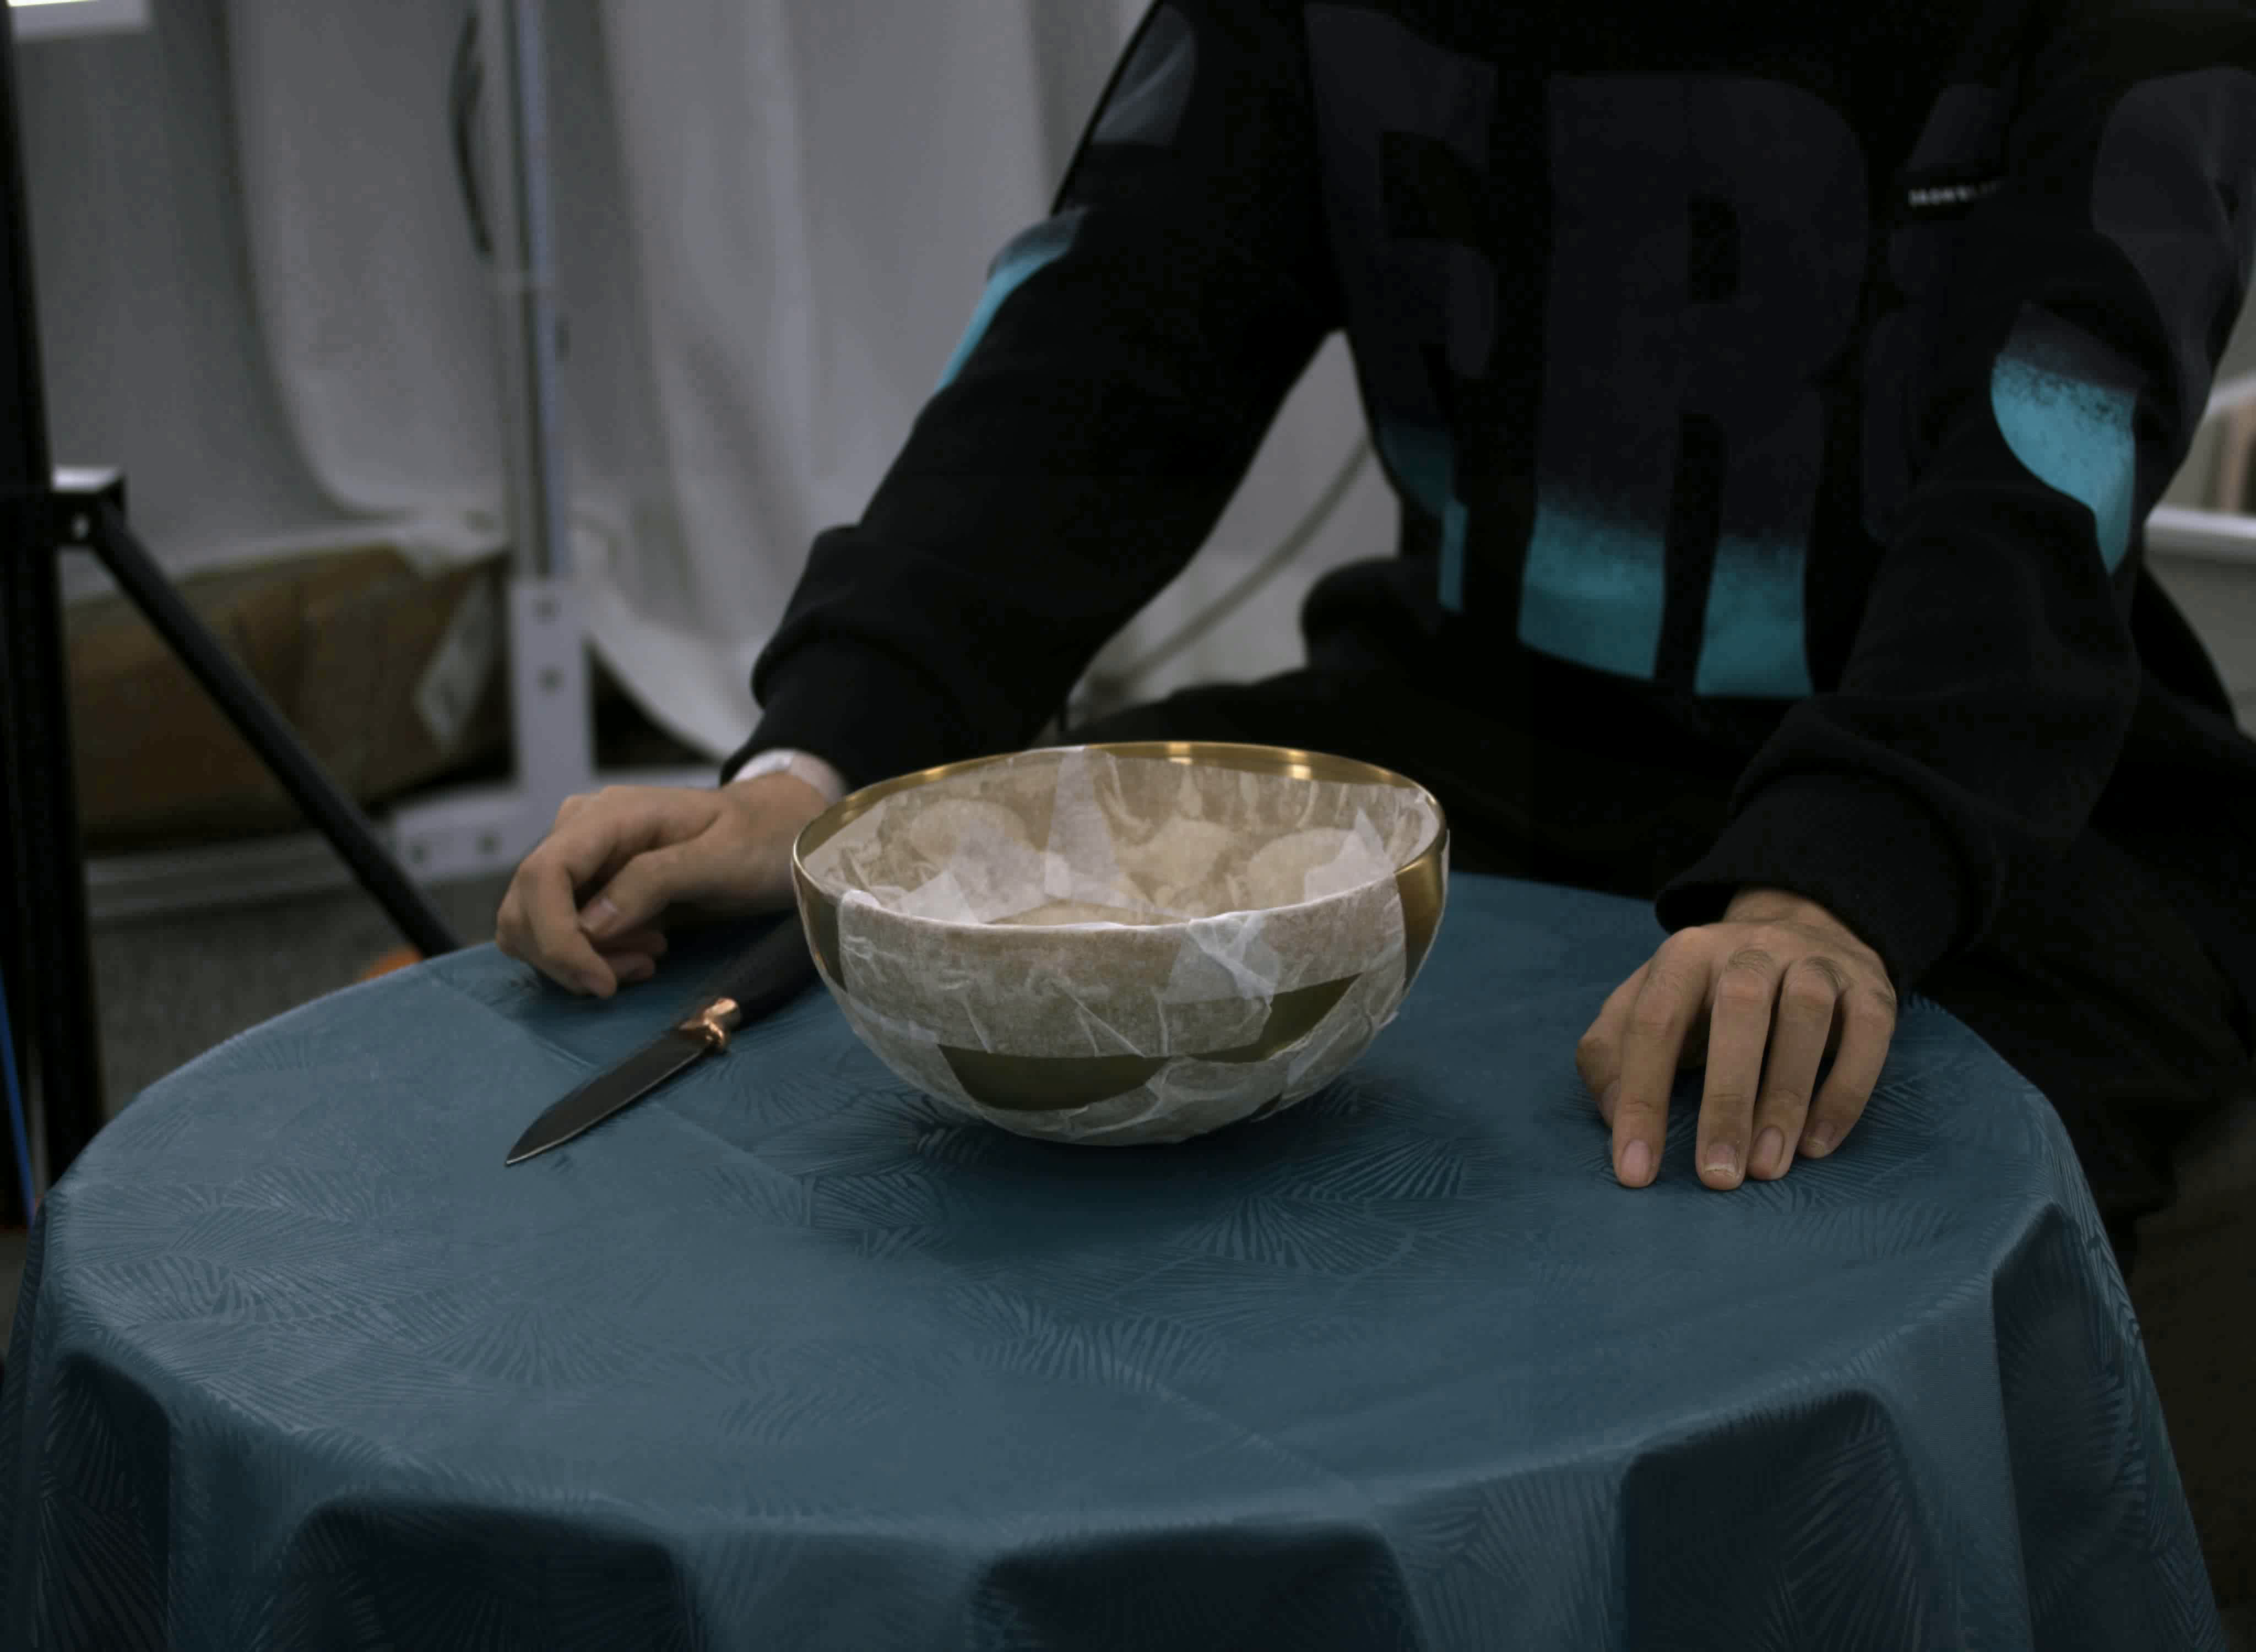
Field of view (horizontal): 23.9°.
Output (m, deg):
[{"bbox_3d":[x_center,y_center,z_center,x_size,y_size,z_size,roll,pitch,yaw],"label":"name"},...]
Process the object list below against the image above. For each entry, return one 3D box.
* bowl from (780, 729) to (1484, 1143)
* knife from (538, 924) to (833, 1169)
[{"bbox_3d":[0.002,0.042,1.618,0.214,0.094,0.216,-4,15,0],"label":"bowl"},{"bbox_3d":[-0.140,0.069,1.701,0.026,0.017,0.222,10,20,19],"label":"knife"}]
